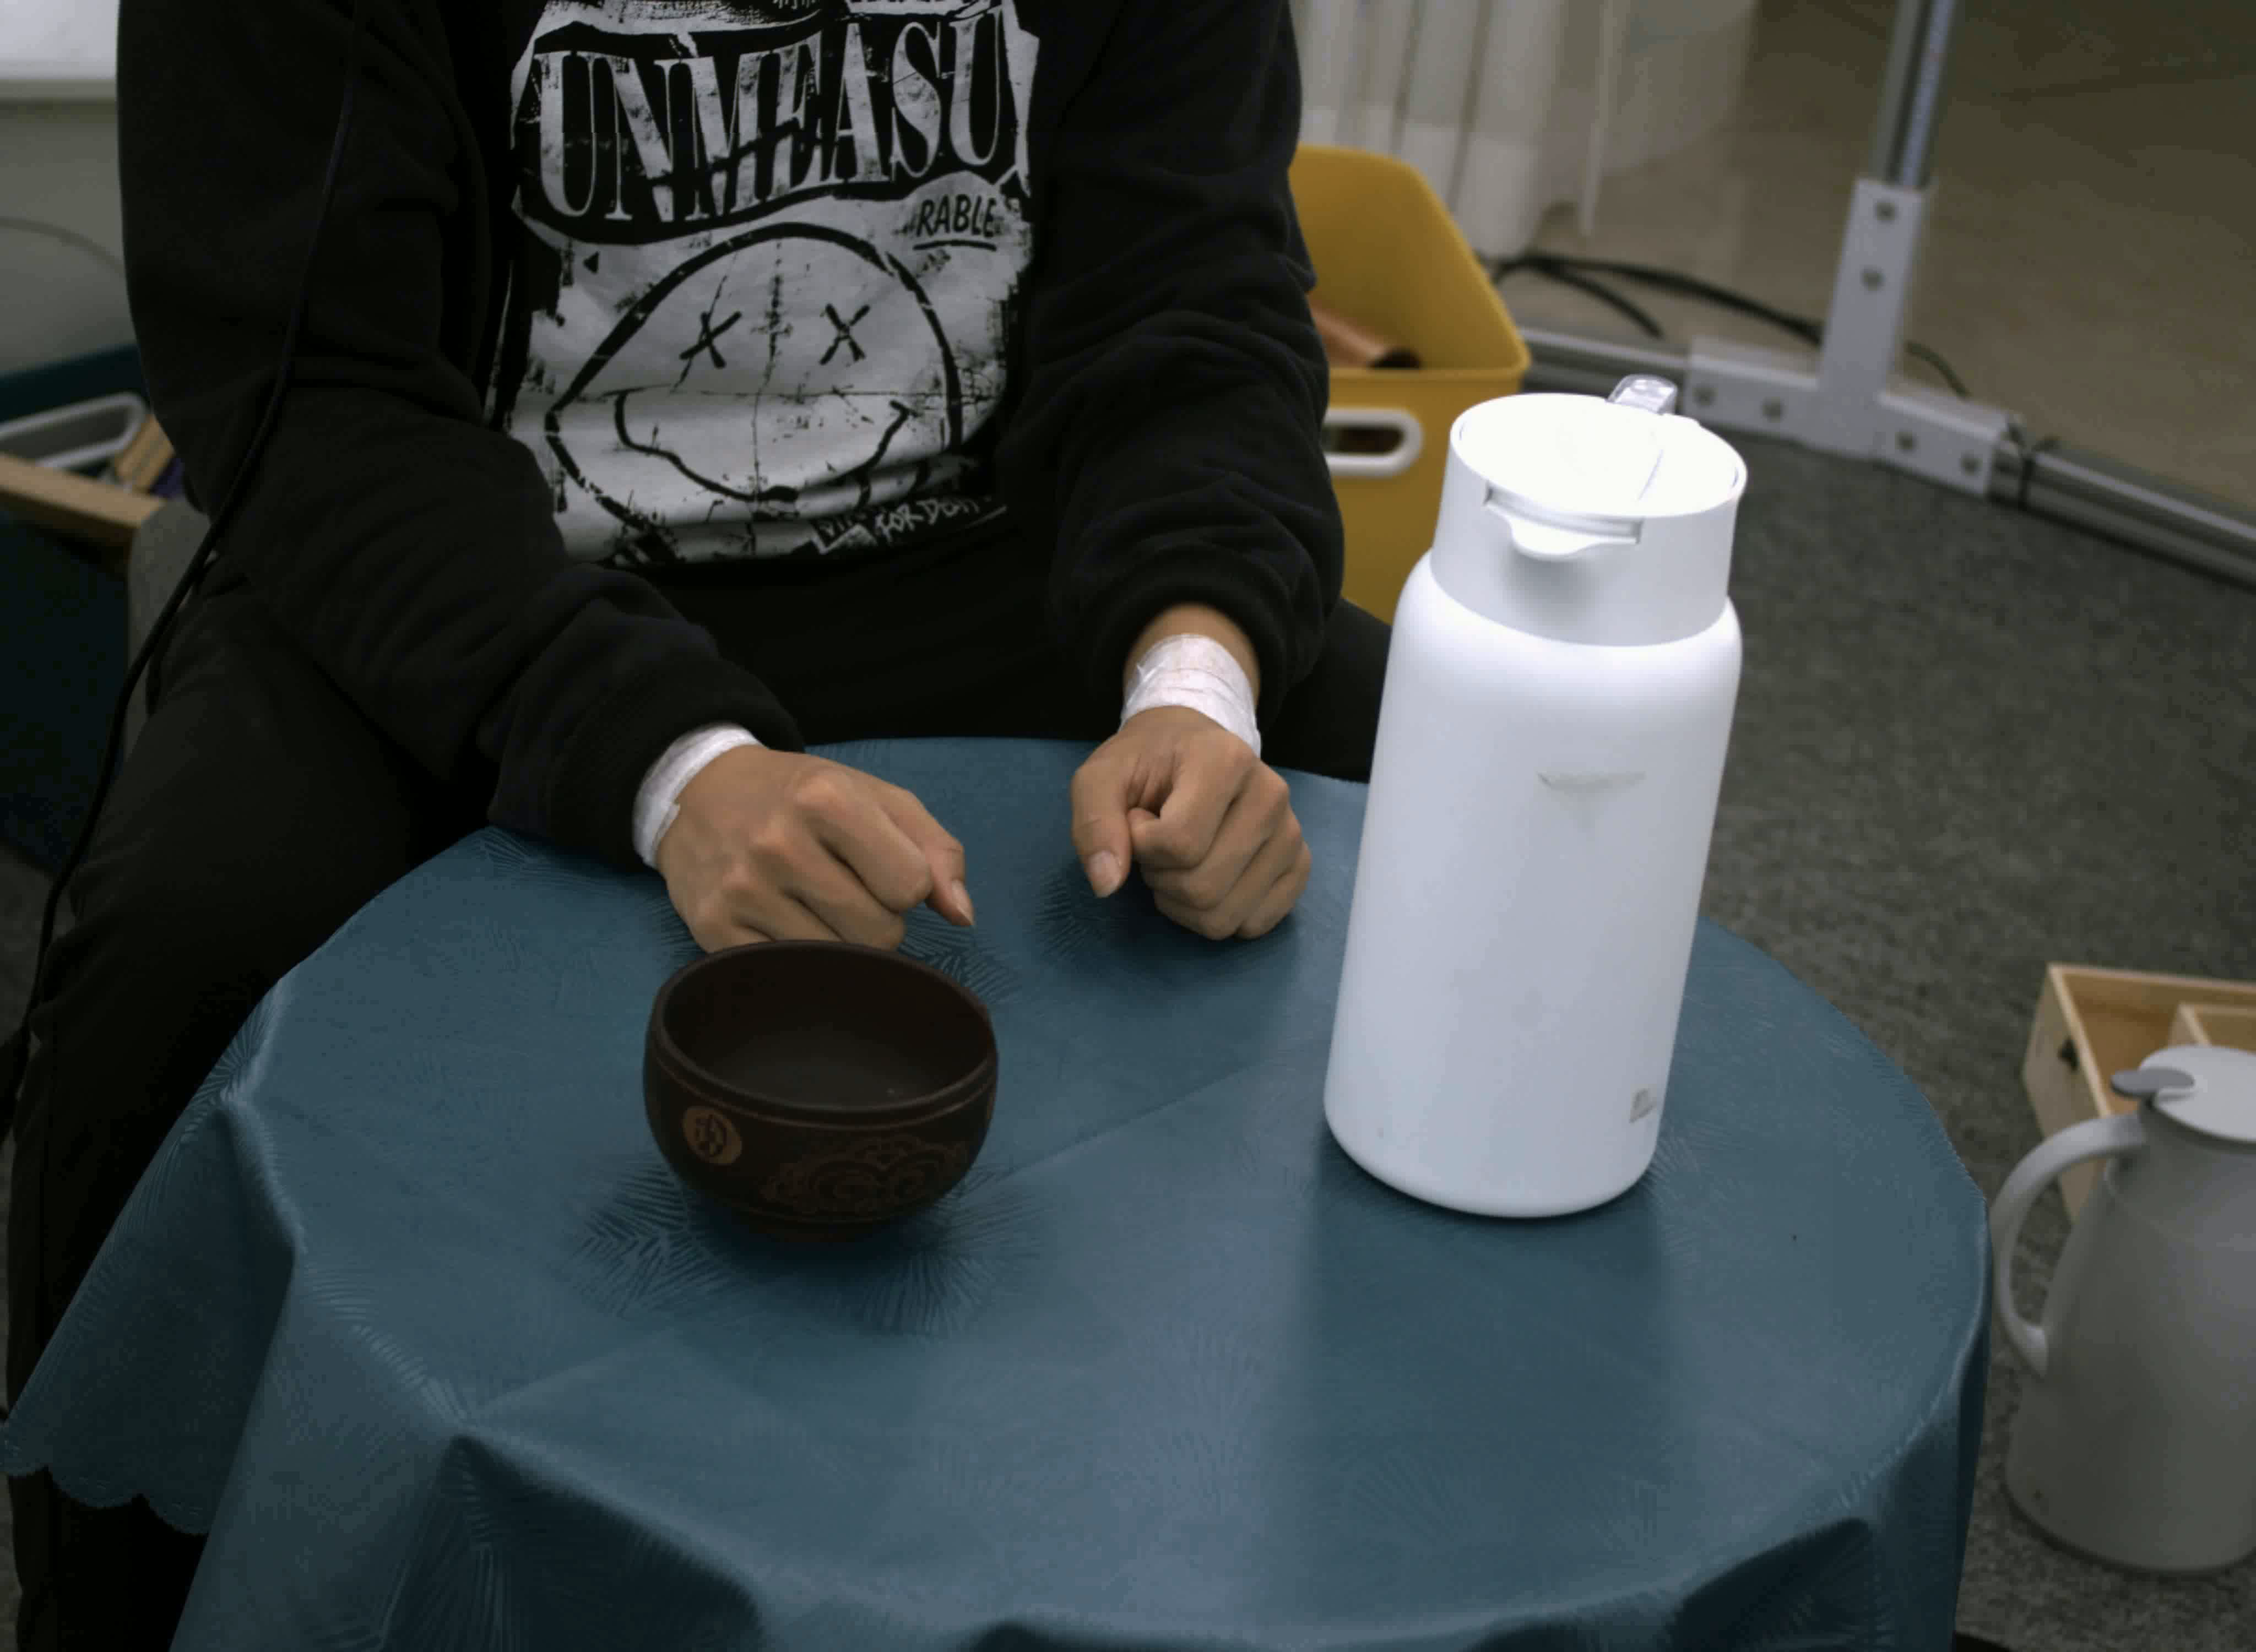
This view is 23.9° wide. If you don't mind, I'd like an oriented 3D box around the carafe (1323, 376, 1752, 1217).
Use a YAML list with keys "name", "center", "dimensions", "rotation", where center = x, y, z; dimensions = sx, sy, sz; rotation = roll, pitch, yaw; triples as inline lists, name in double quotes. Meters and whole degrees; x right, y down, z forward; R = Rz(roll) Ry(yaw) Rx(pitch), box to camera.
- name: "carafe"
  center: [0.143, -0.015, 1.816]
  dimensions: [0.124, 0.268, 0.173]
  rotation: [12, 27, 15]

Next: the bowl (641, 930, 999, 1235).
- name: "bowl"
  center: [-0.103, 0.092, 1.762]
  dimensions: [0.117, 0.069, 0.119]
  rotation: [5, 26, -3]
